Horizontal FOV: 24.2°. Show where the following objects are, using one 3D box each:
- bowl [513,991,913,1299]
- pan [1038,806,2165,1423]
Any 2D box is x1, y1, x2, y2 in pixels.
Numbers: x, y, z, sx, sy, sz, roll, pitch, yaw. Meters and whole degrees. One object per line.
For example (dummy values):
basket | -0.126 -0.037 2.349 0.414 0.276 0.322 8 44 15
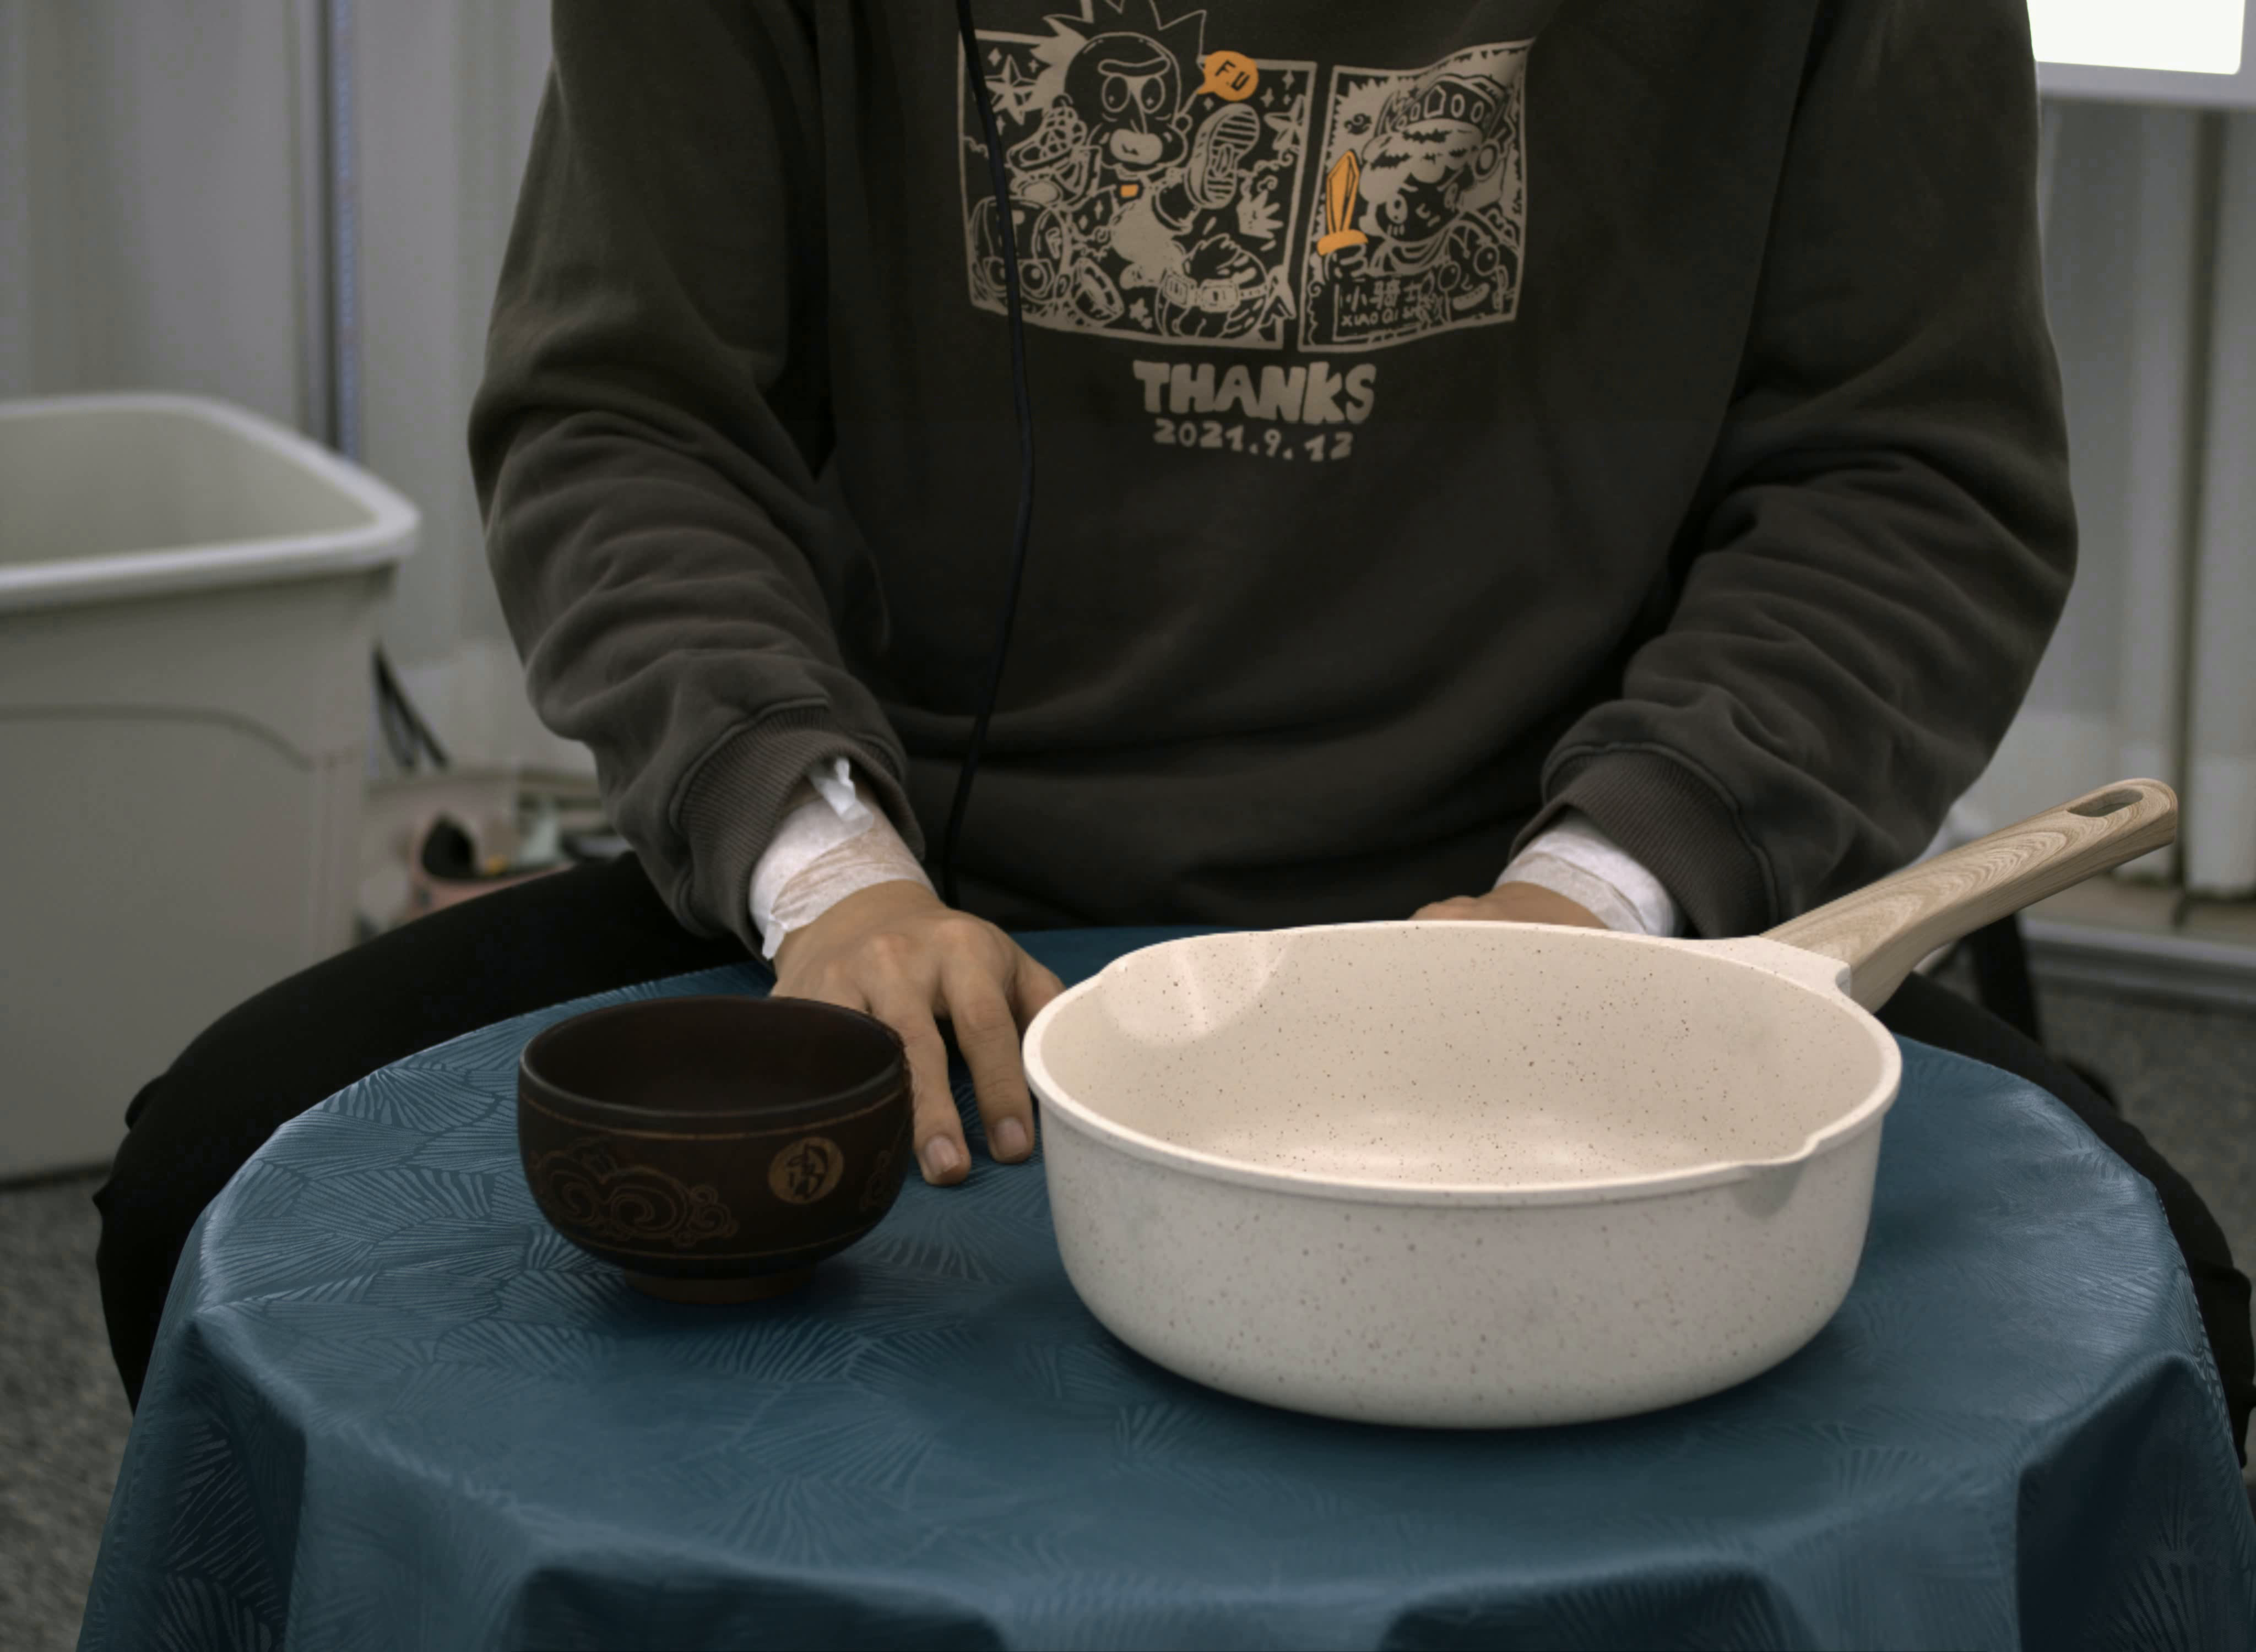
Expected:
bowl | -0.121 0.097 1.547 0.117 0.070 0.117 -1 14 1
pan | 0.168 0.079 1.573 0.437 0.103 0.260 -12 18 -40
